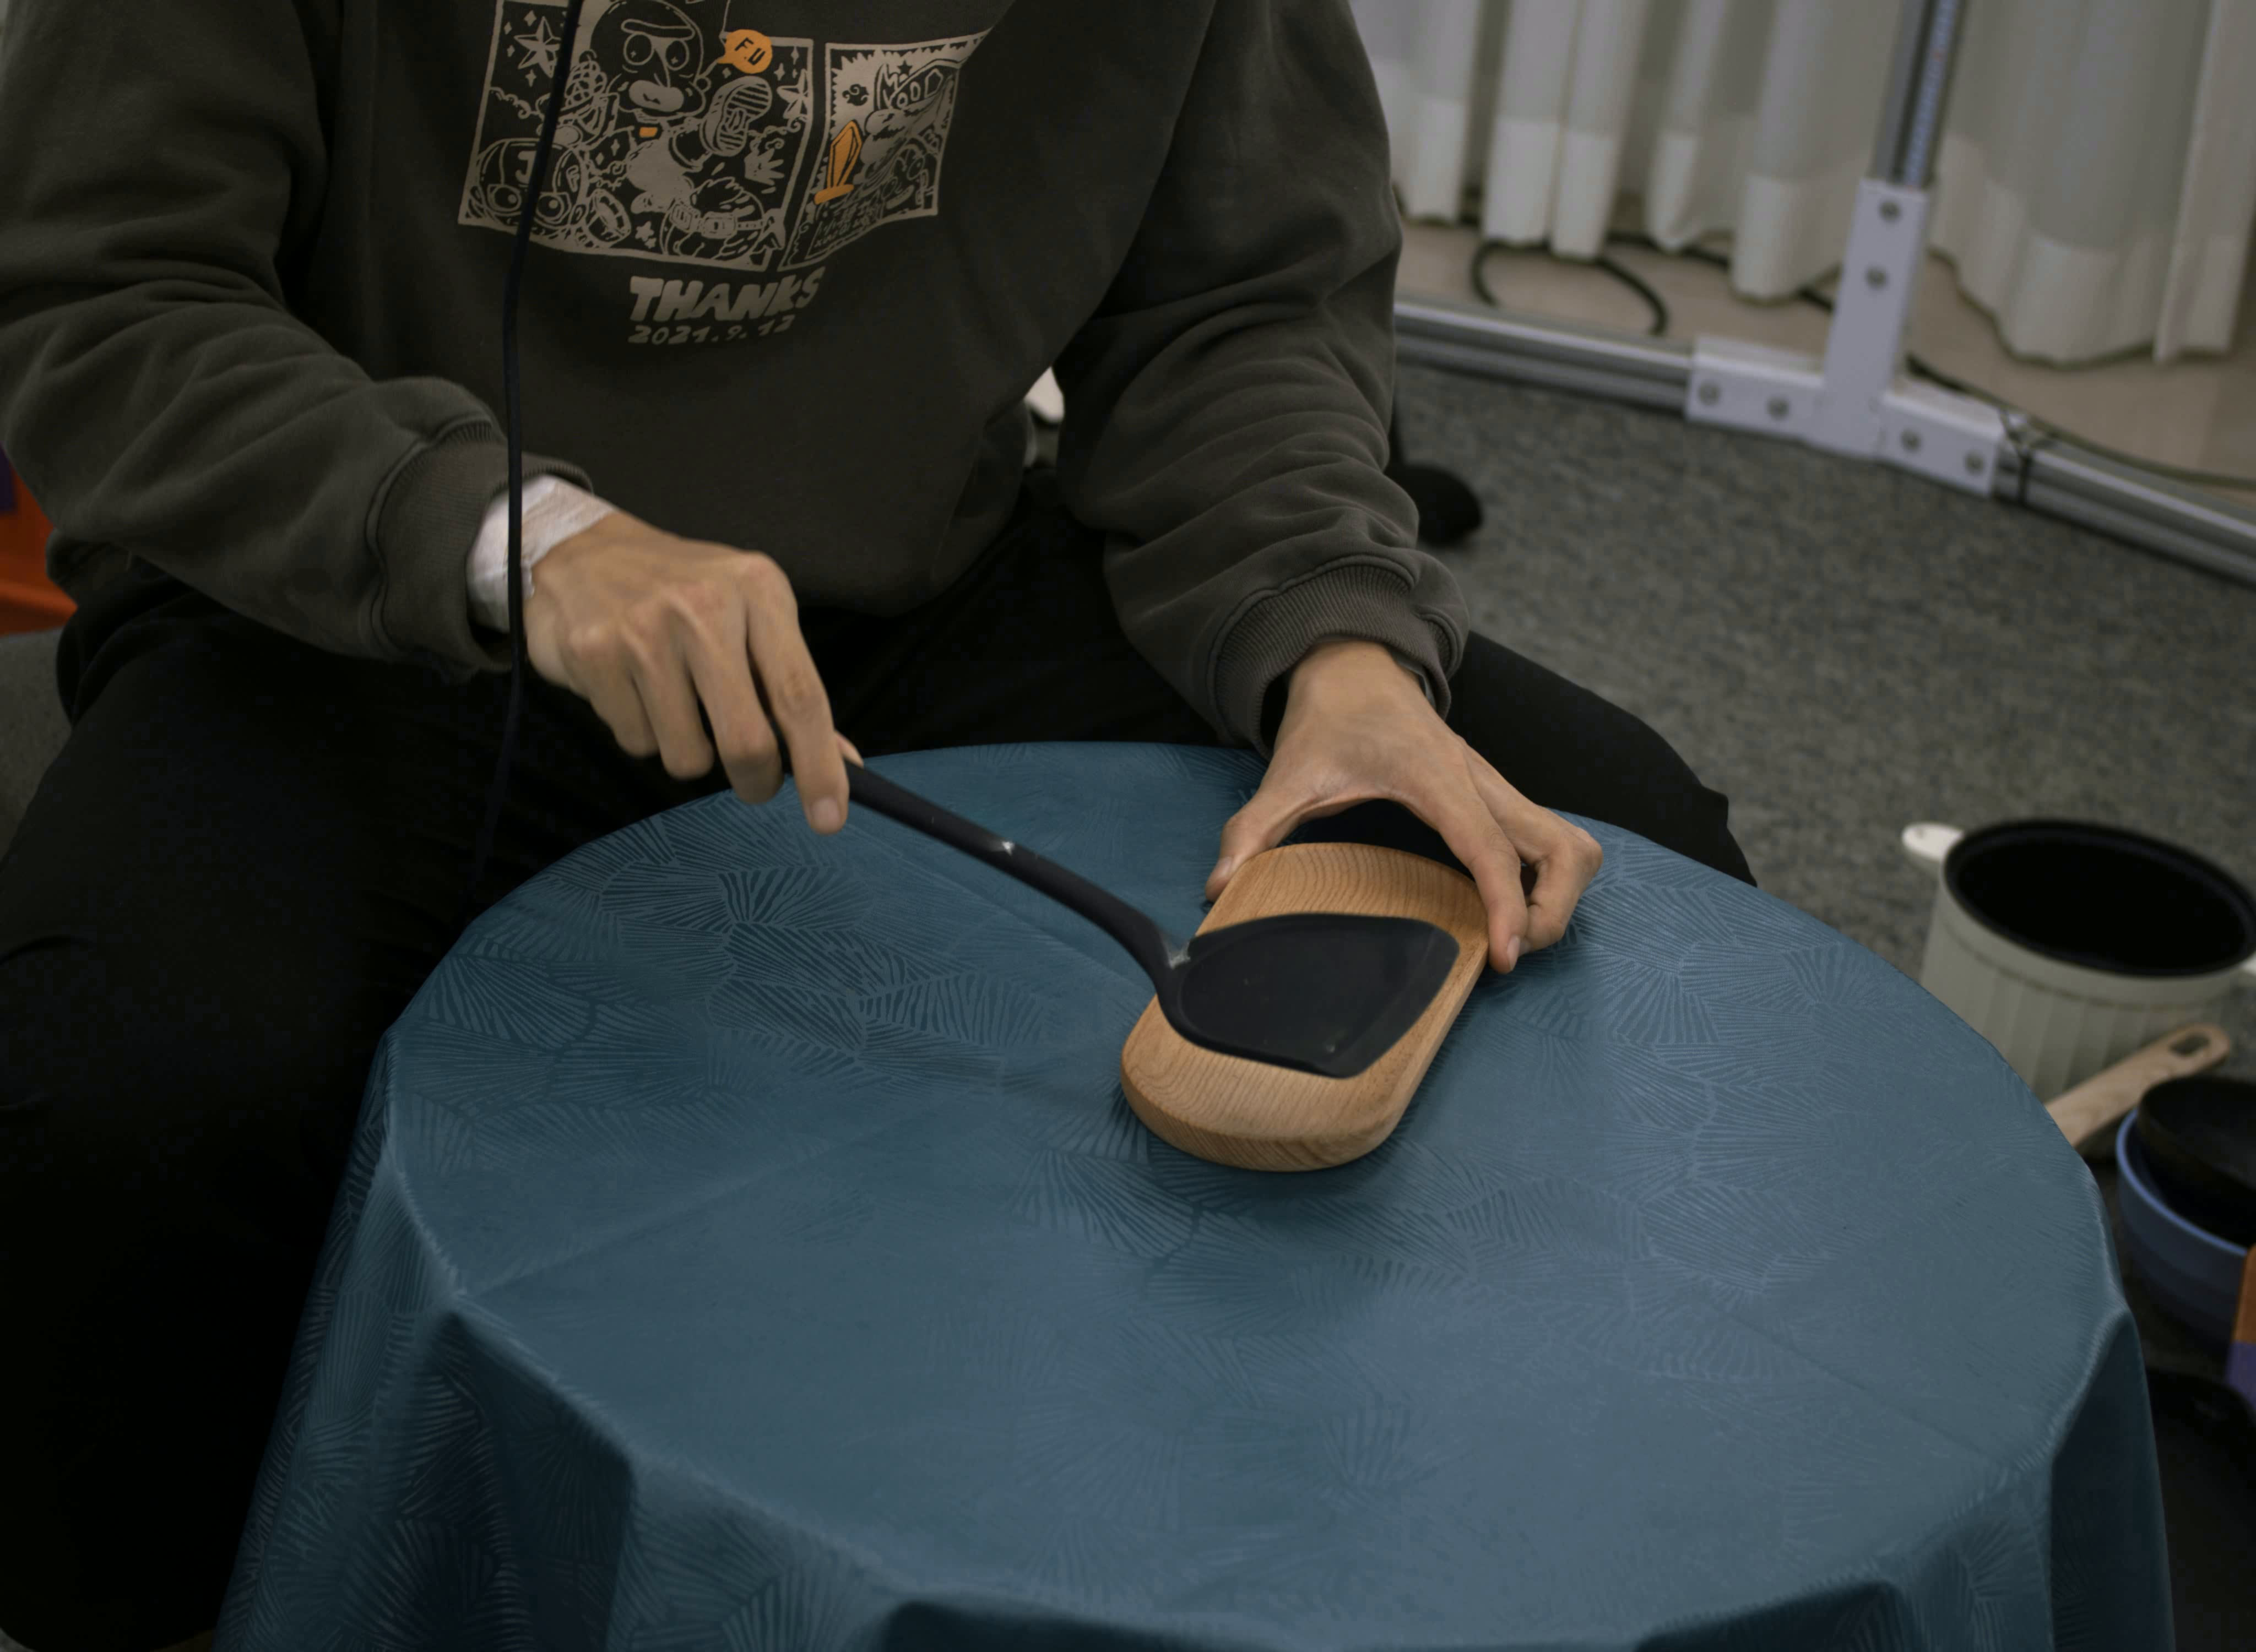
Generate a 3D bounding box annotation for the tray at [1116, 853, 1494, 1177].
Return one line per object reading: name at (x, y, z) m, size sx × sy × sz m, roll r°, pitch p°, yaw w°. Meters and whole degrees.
tray at (0.065, 0.066, 1.916) m, size 0.102 × 0.020 × 0.231 m, roll 12°, pitch 28°, yaw 14°

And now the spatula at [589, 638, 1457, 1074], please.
spatula at (-0.046, 0.000, 1.834) m, size 0.327 × 0.040 × 0.100 m, roll 28°, pitch 38°, yaw 14°
